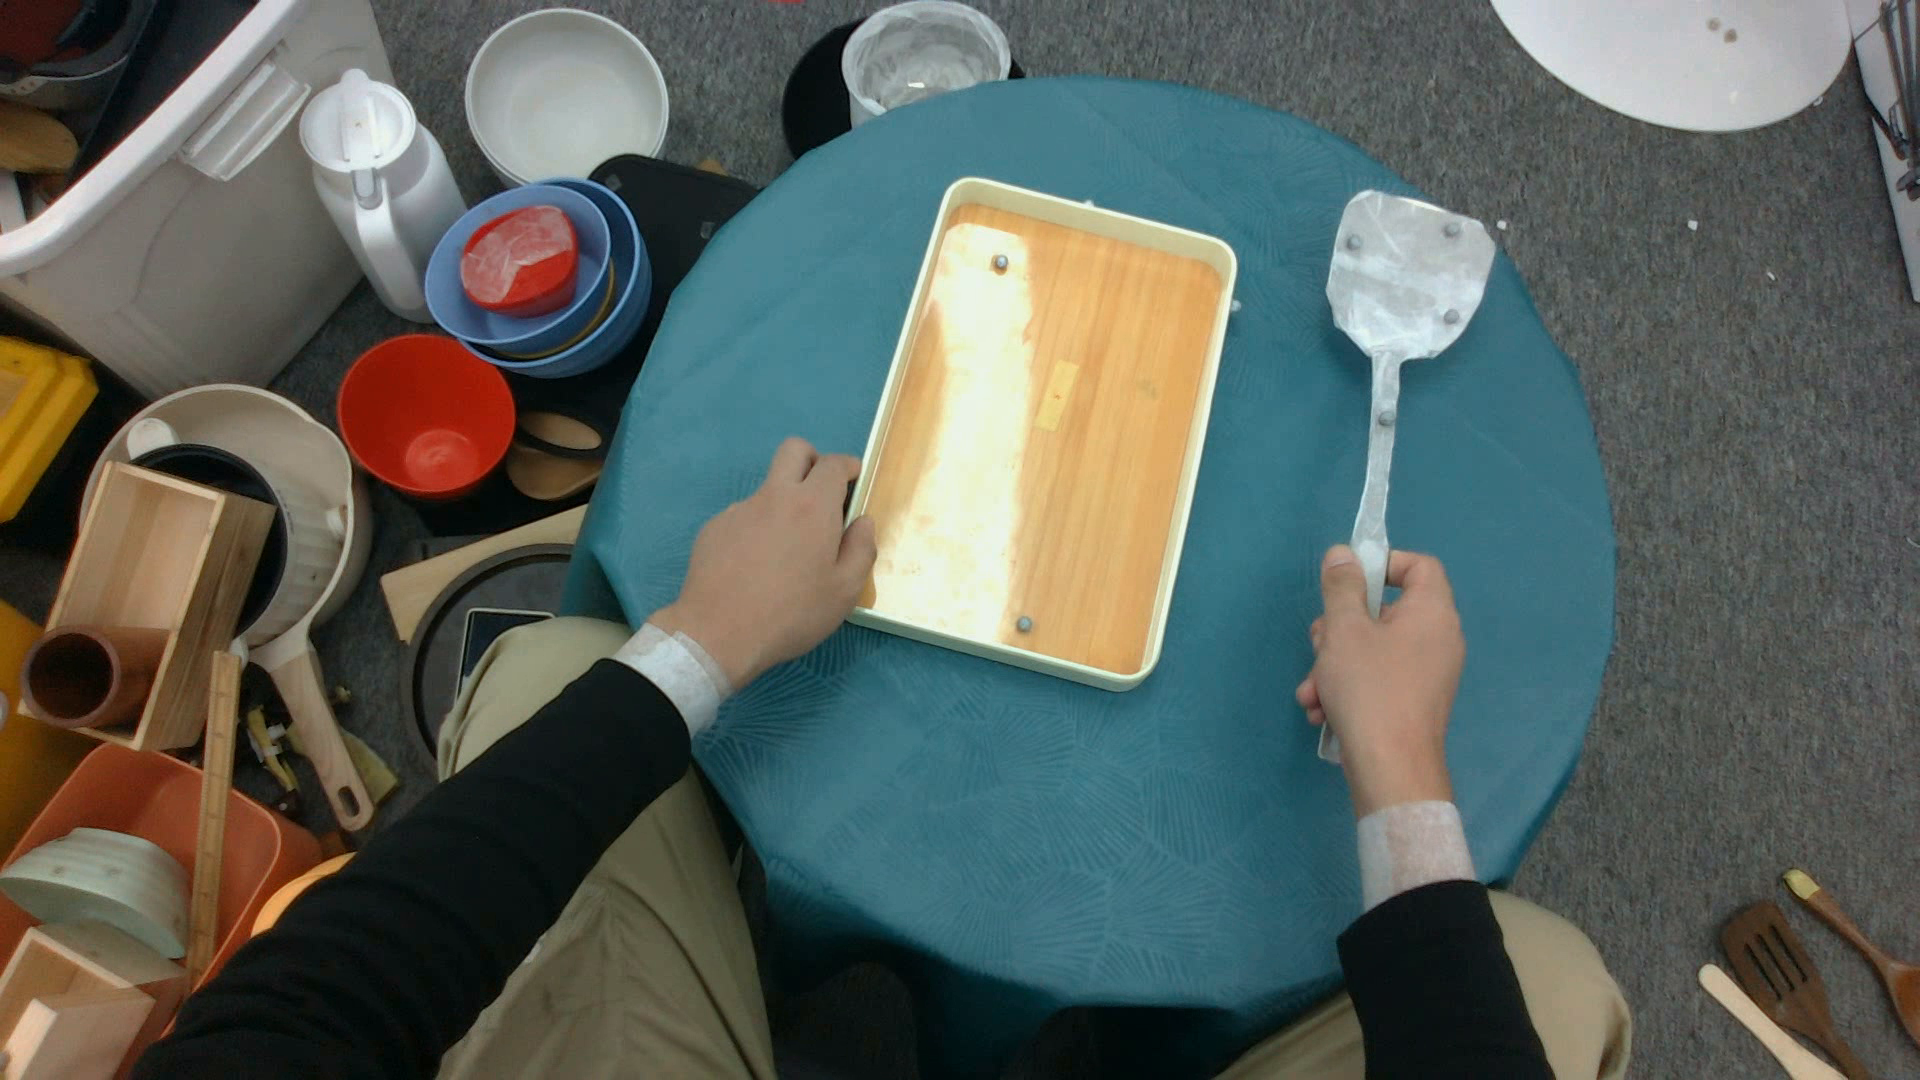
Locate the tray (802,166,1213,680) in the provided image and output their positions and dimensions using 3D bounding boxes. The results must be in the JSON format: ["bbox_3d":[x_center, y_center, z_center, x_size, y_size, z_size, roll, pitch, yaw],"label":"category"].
[{"bbox_3d":[0.035,-0.078,0.822,0.191,0.027,0.301,15,68,0],"label":"tray"}]

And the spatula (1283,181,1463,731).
[{"bbox_3d":[0.226,-0.059,0.792,0.099,0.044,0.366,17,60,-2],"label":"spatula"}]
